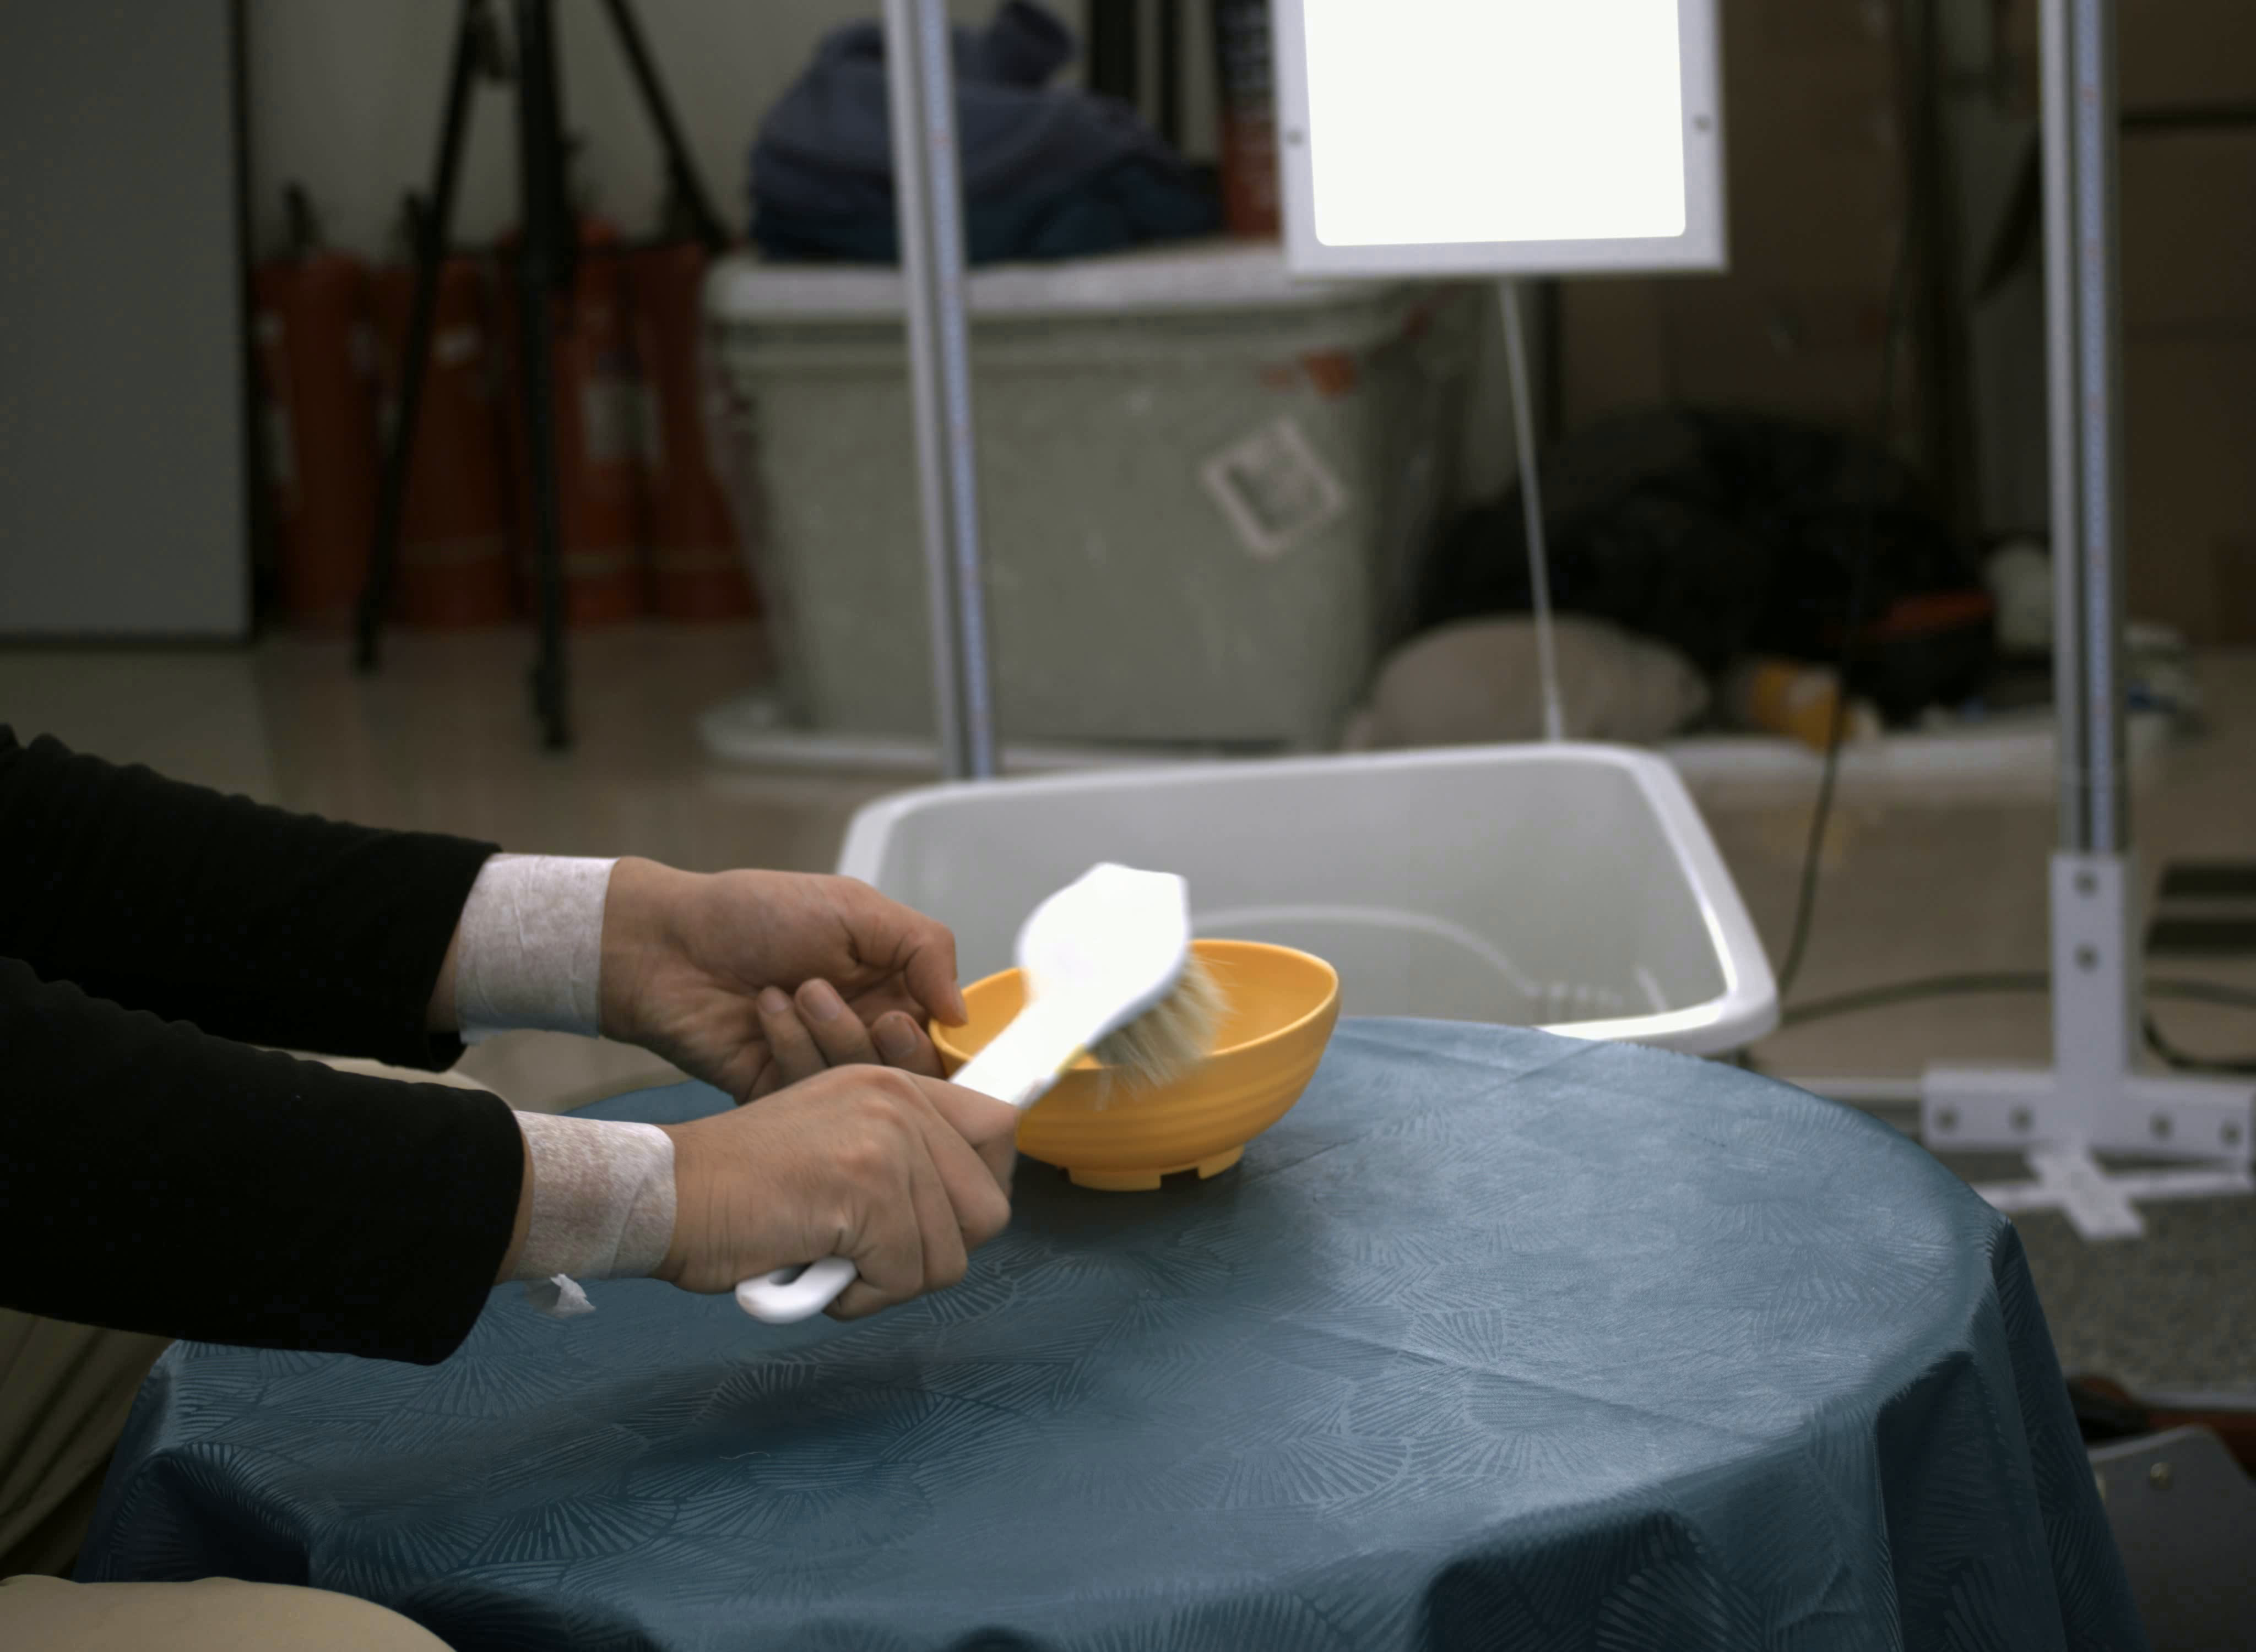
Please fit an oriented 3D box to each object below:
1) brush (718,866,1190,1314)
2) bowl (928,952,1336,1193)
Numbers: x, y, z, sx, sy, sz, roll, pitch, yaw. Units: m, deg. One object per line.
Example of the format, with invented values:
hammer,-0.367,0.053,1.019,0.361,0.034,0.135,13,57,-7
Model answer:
brush,-0.058,0.100,1.780,0.070,0.056,0.261,4,33,27
bowl,0.005,0.090,1.919,0.145,0.060,0.145,-8,13,0
